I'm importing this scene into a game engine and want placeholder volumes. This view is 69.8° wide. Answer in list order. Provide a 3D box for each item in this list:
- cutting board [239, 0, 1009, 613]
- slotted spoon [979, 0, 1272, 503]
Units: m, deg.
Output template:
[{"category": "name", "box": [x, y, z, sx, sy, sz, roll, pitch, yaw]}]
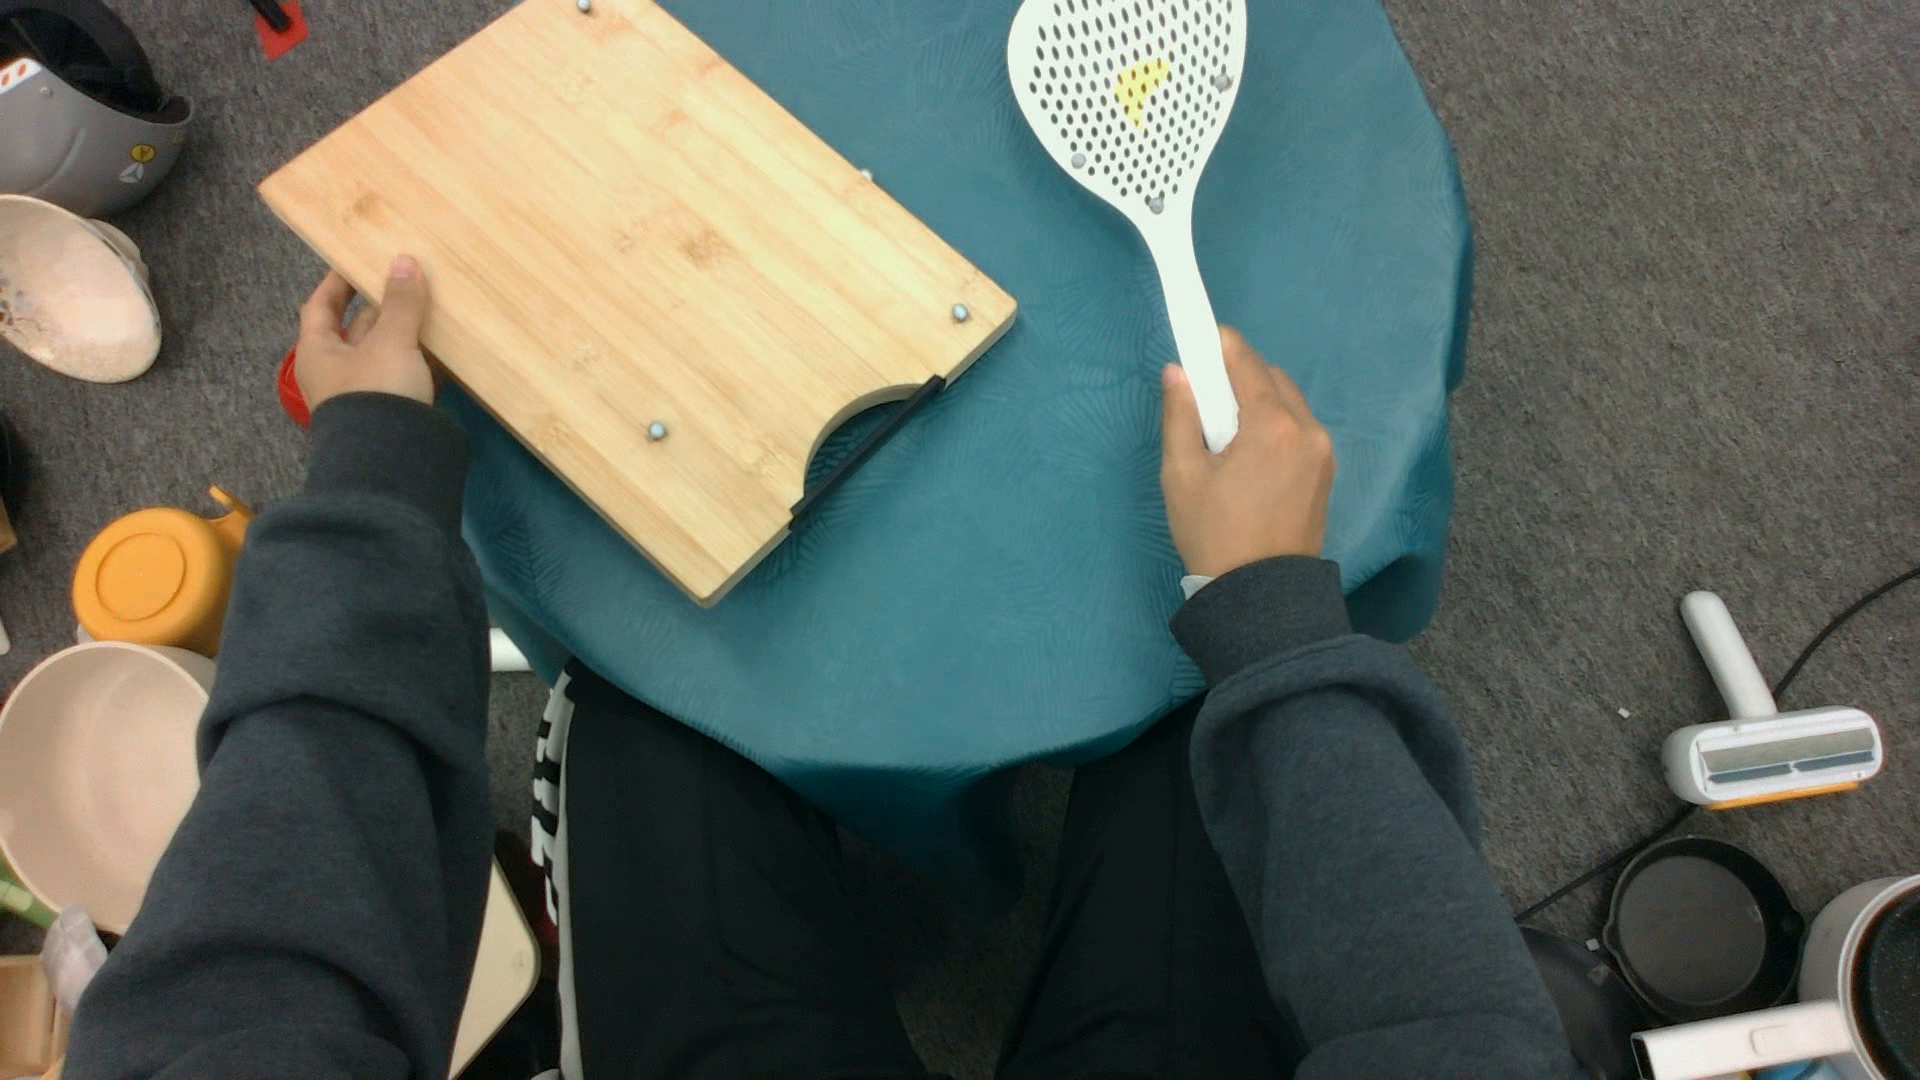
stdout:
[{"category": "cutting board", "box": [-0.179, -0.158, 0.753, 0.349, 0.023, 0.251, 40, 70, 10]}, {"category": "slotted spoon", "box": [0.103, -0.182, 0.739, 0.136, 0.050, 0.349, -17, 66, 13]}]
